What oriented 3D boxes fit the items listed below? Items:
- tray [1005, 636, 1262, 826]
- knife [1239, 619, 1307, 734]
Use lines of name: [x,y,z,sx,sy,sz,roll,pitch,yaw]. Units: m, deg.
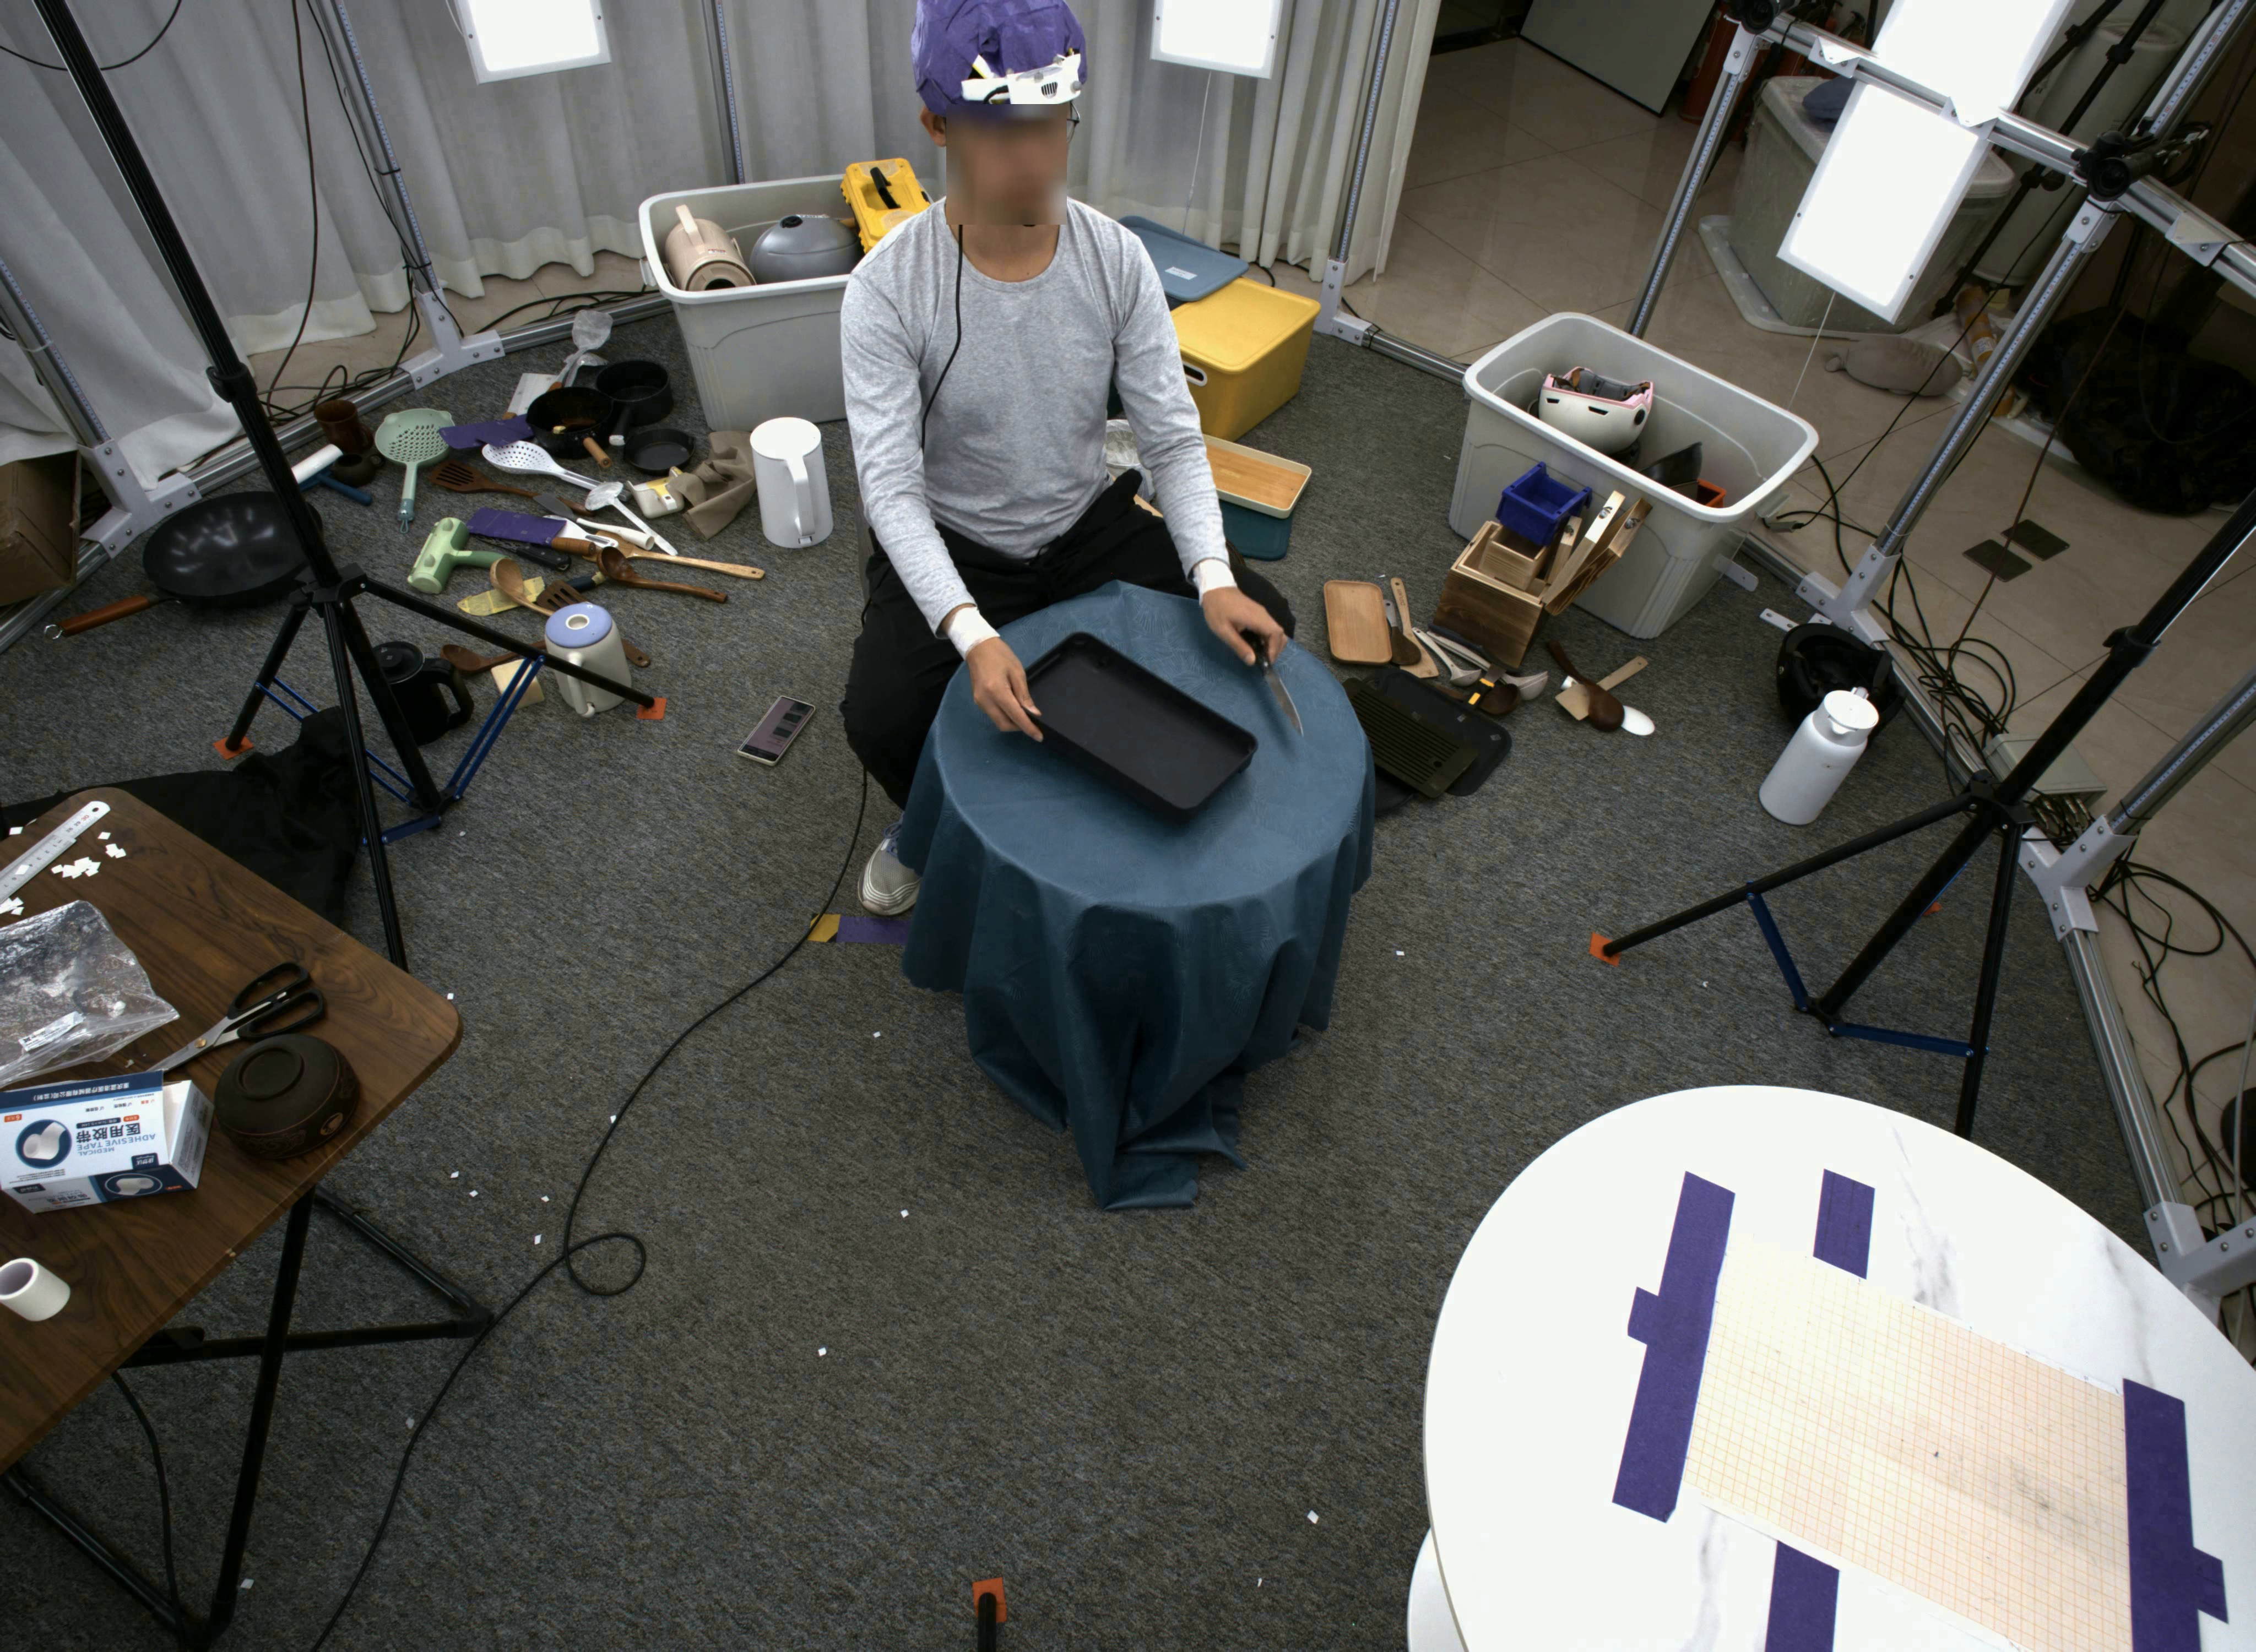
tray: [0.005,-0.133,1.720,0.321,0.036,0.187,32,50,19]
knife: [0.203,-0.213,1.812,0.024,0.016,0.244,-9,50,-15]
